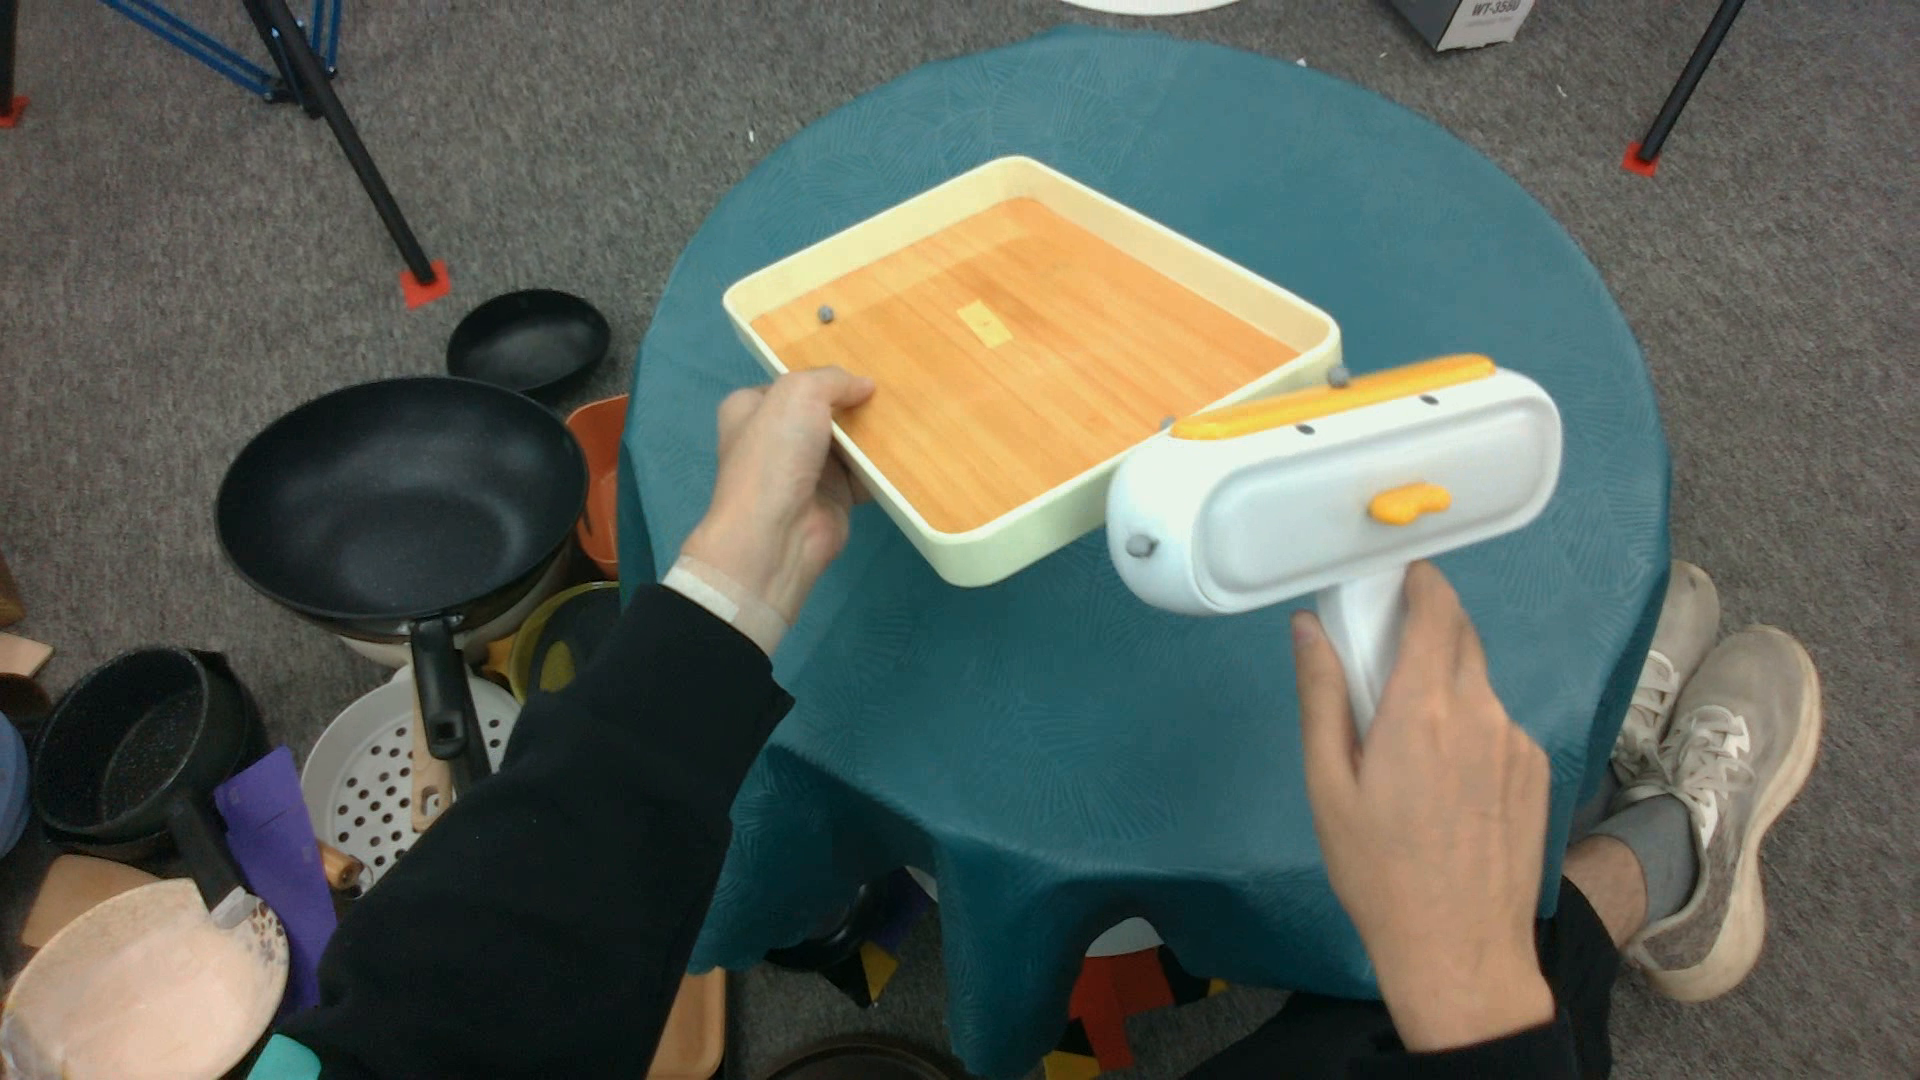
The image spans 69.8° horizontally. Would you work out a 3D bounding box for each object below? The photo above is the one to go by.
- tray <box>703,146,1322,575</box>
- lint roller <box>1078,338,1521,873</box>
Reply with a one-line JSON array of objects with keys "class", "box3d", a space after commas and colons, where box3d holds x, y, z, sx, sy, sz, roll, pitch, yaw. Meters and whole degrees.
[{"class": "tray", "box3d": [0.007, -0.103, 0.647, 0.192, 0.027, 0.301, -28, 38, -12]}, {"class": "lint roller", "box3d": [0.148, 0.032, 0.524, 0.193, 0.074, 0.192, -20, 103, -29]}]
